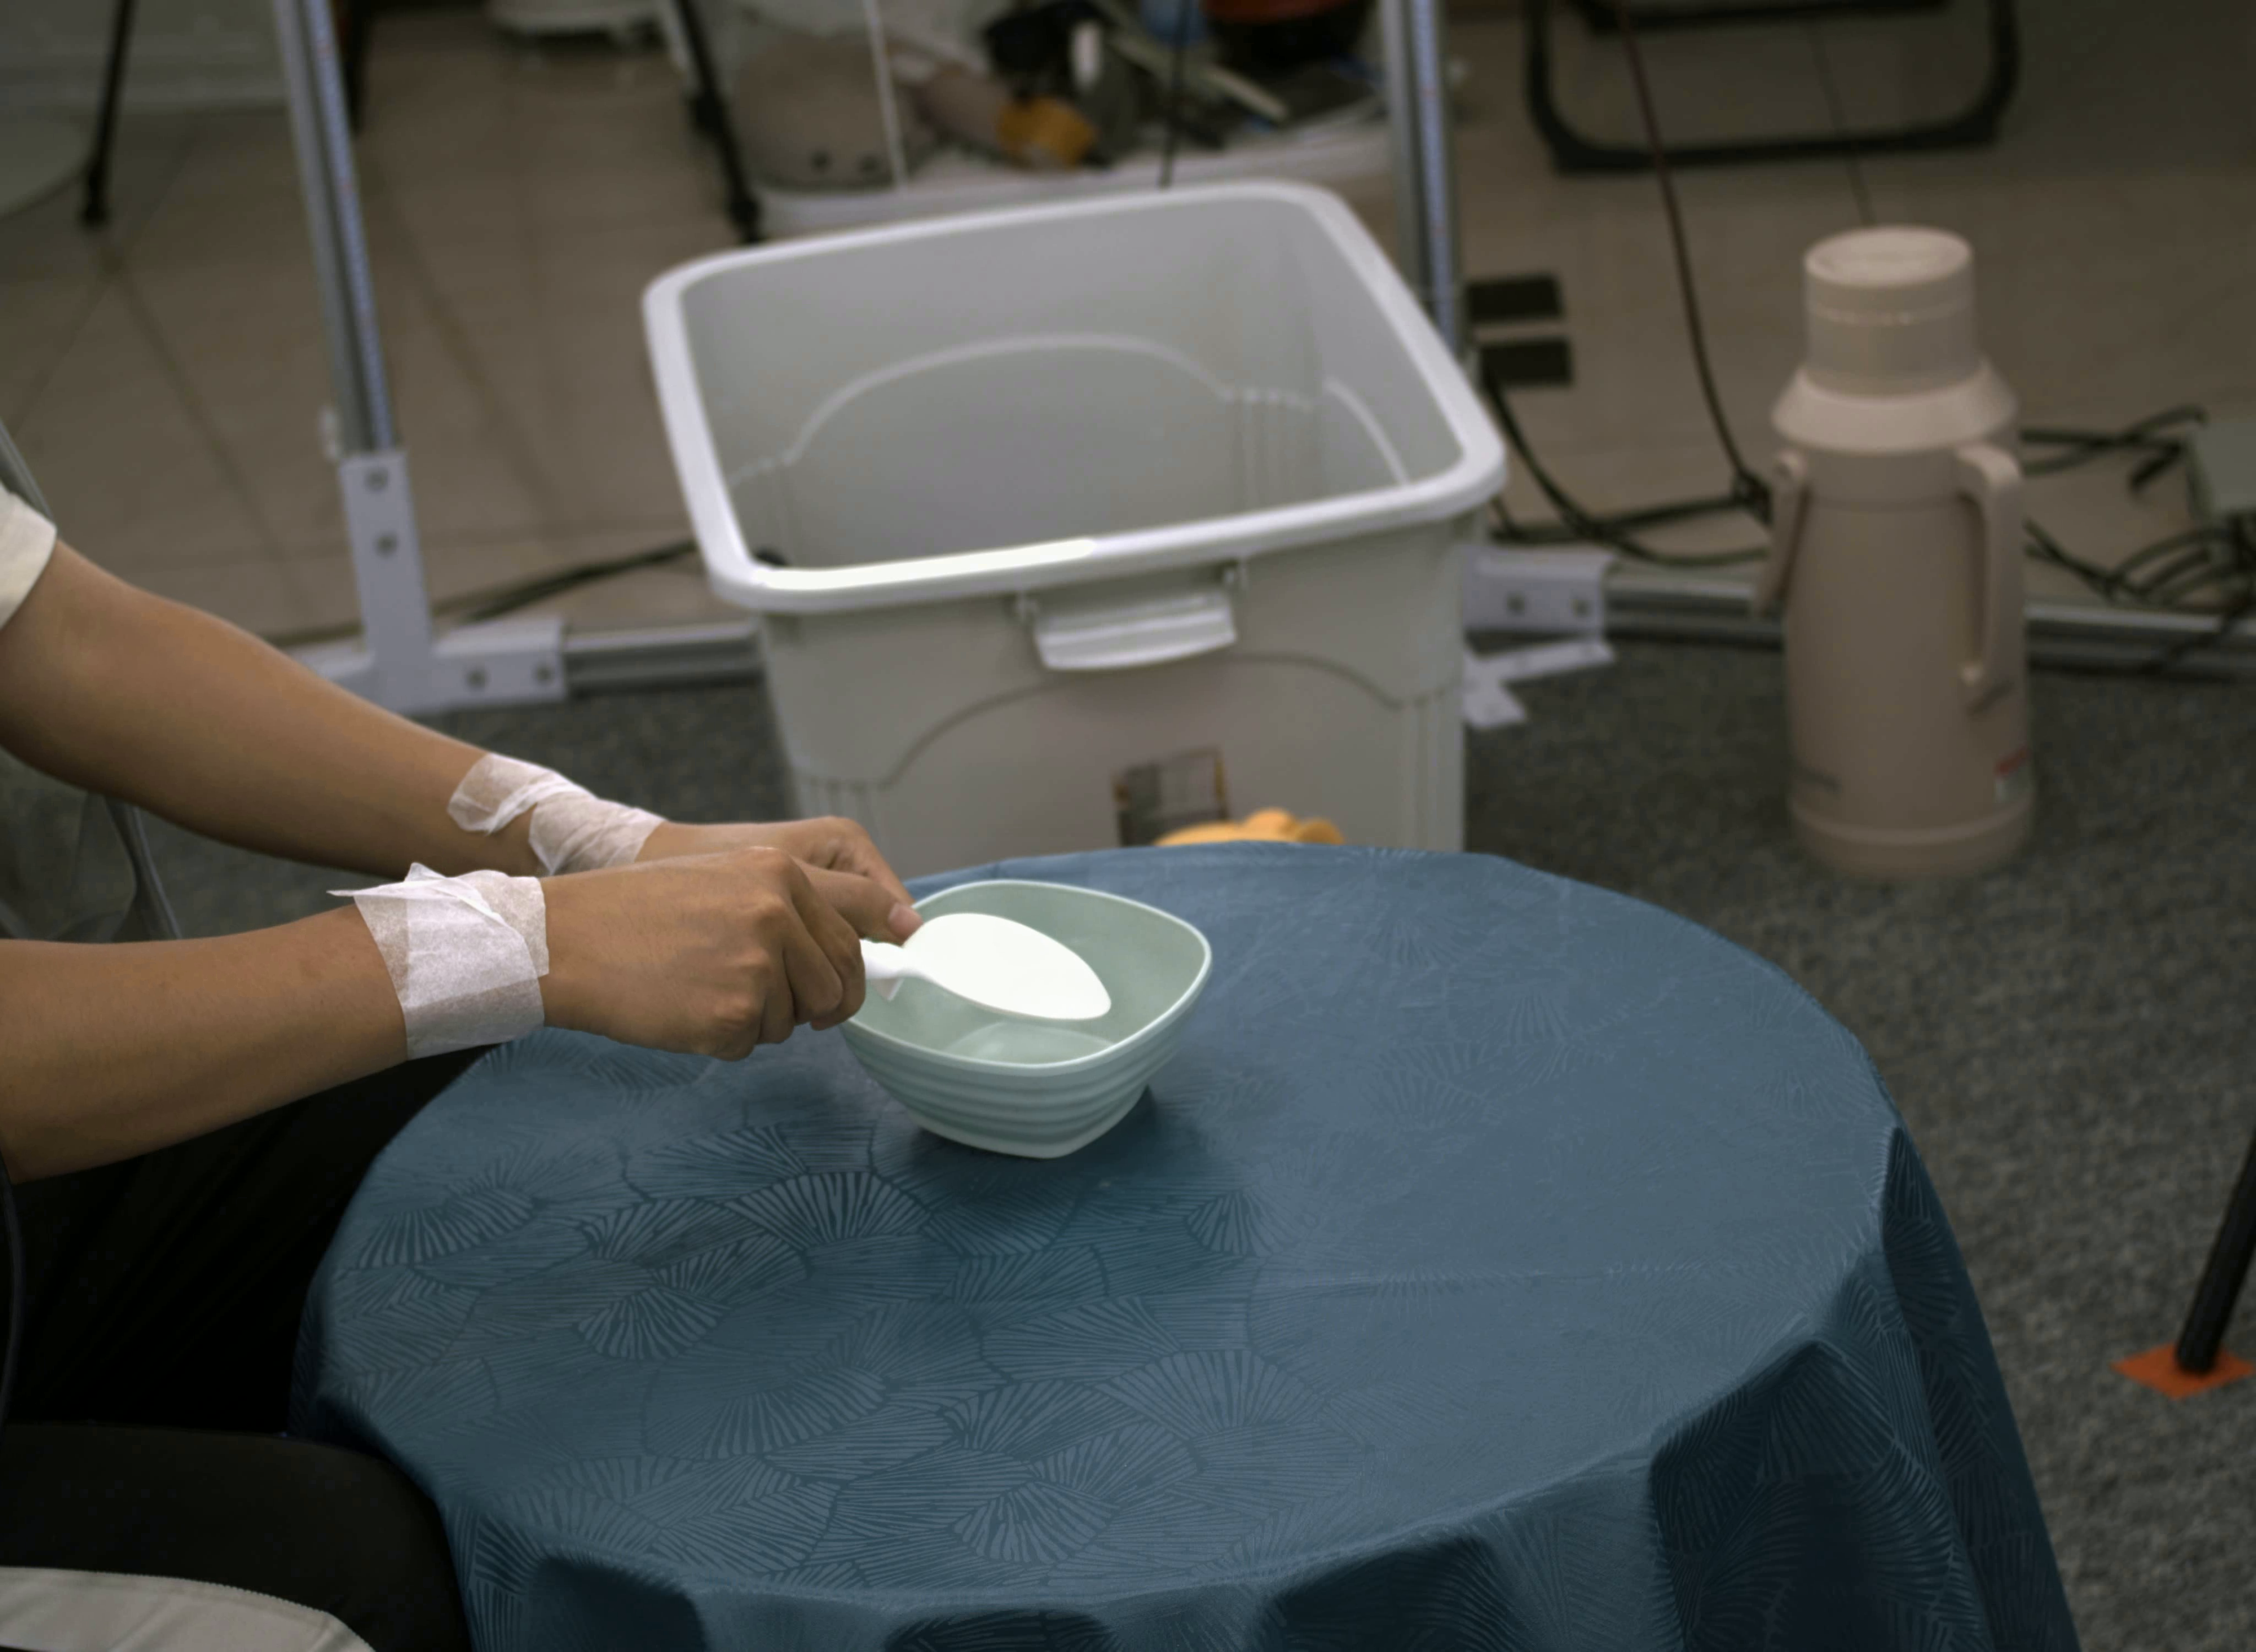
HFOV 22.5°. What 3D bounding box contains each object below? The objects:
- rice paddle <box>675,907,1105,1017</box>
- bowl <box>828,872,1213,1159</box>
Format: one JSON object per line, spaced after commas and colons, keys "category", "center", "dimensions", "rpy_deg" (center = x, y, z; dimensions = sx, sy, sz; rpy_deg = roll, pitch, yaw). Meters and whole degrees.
{"category": "rice paddle", "center": [-0.085, 0.050, 2.141], "dimensions": [0.205, 0.030, 0.068], "rpy_deg": [3, 35, -46]}
{"category": "bowl", "center": [-0.041, 0.080, 2.210], "dimensions": [0.151, 0.060, 0.149], "rpy_deg": [0, 31, 0]}
